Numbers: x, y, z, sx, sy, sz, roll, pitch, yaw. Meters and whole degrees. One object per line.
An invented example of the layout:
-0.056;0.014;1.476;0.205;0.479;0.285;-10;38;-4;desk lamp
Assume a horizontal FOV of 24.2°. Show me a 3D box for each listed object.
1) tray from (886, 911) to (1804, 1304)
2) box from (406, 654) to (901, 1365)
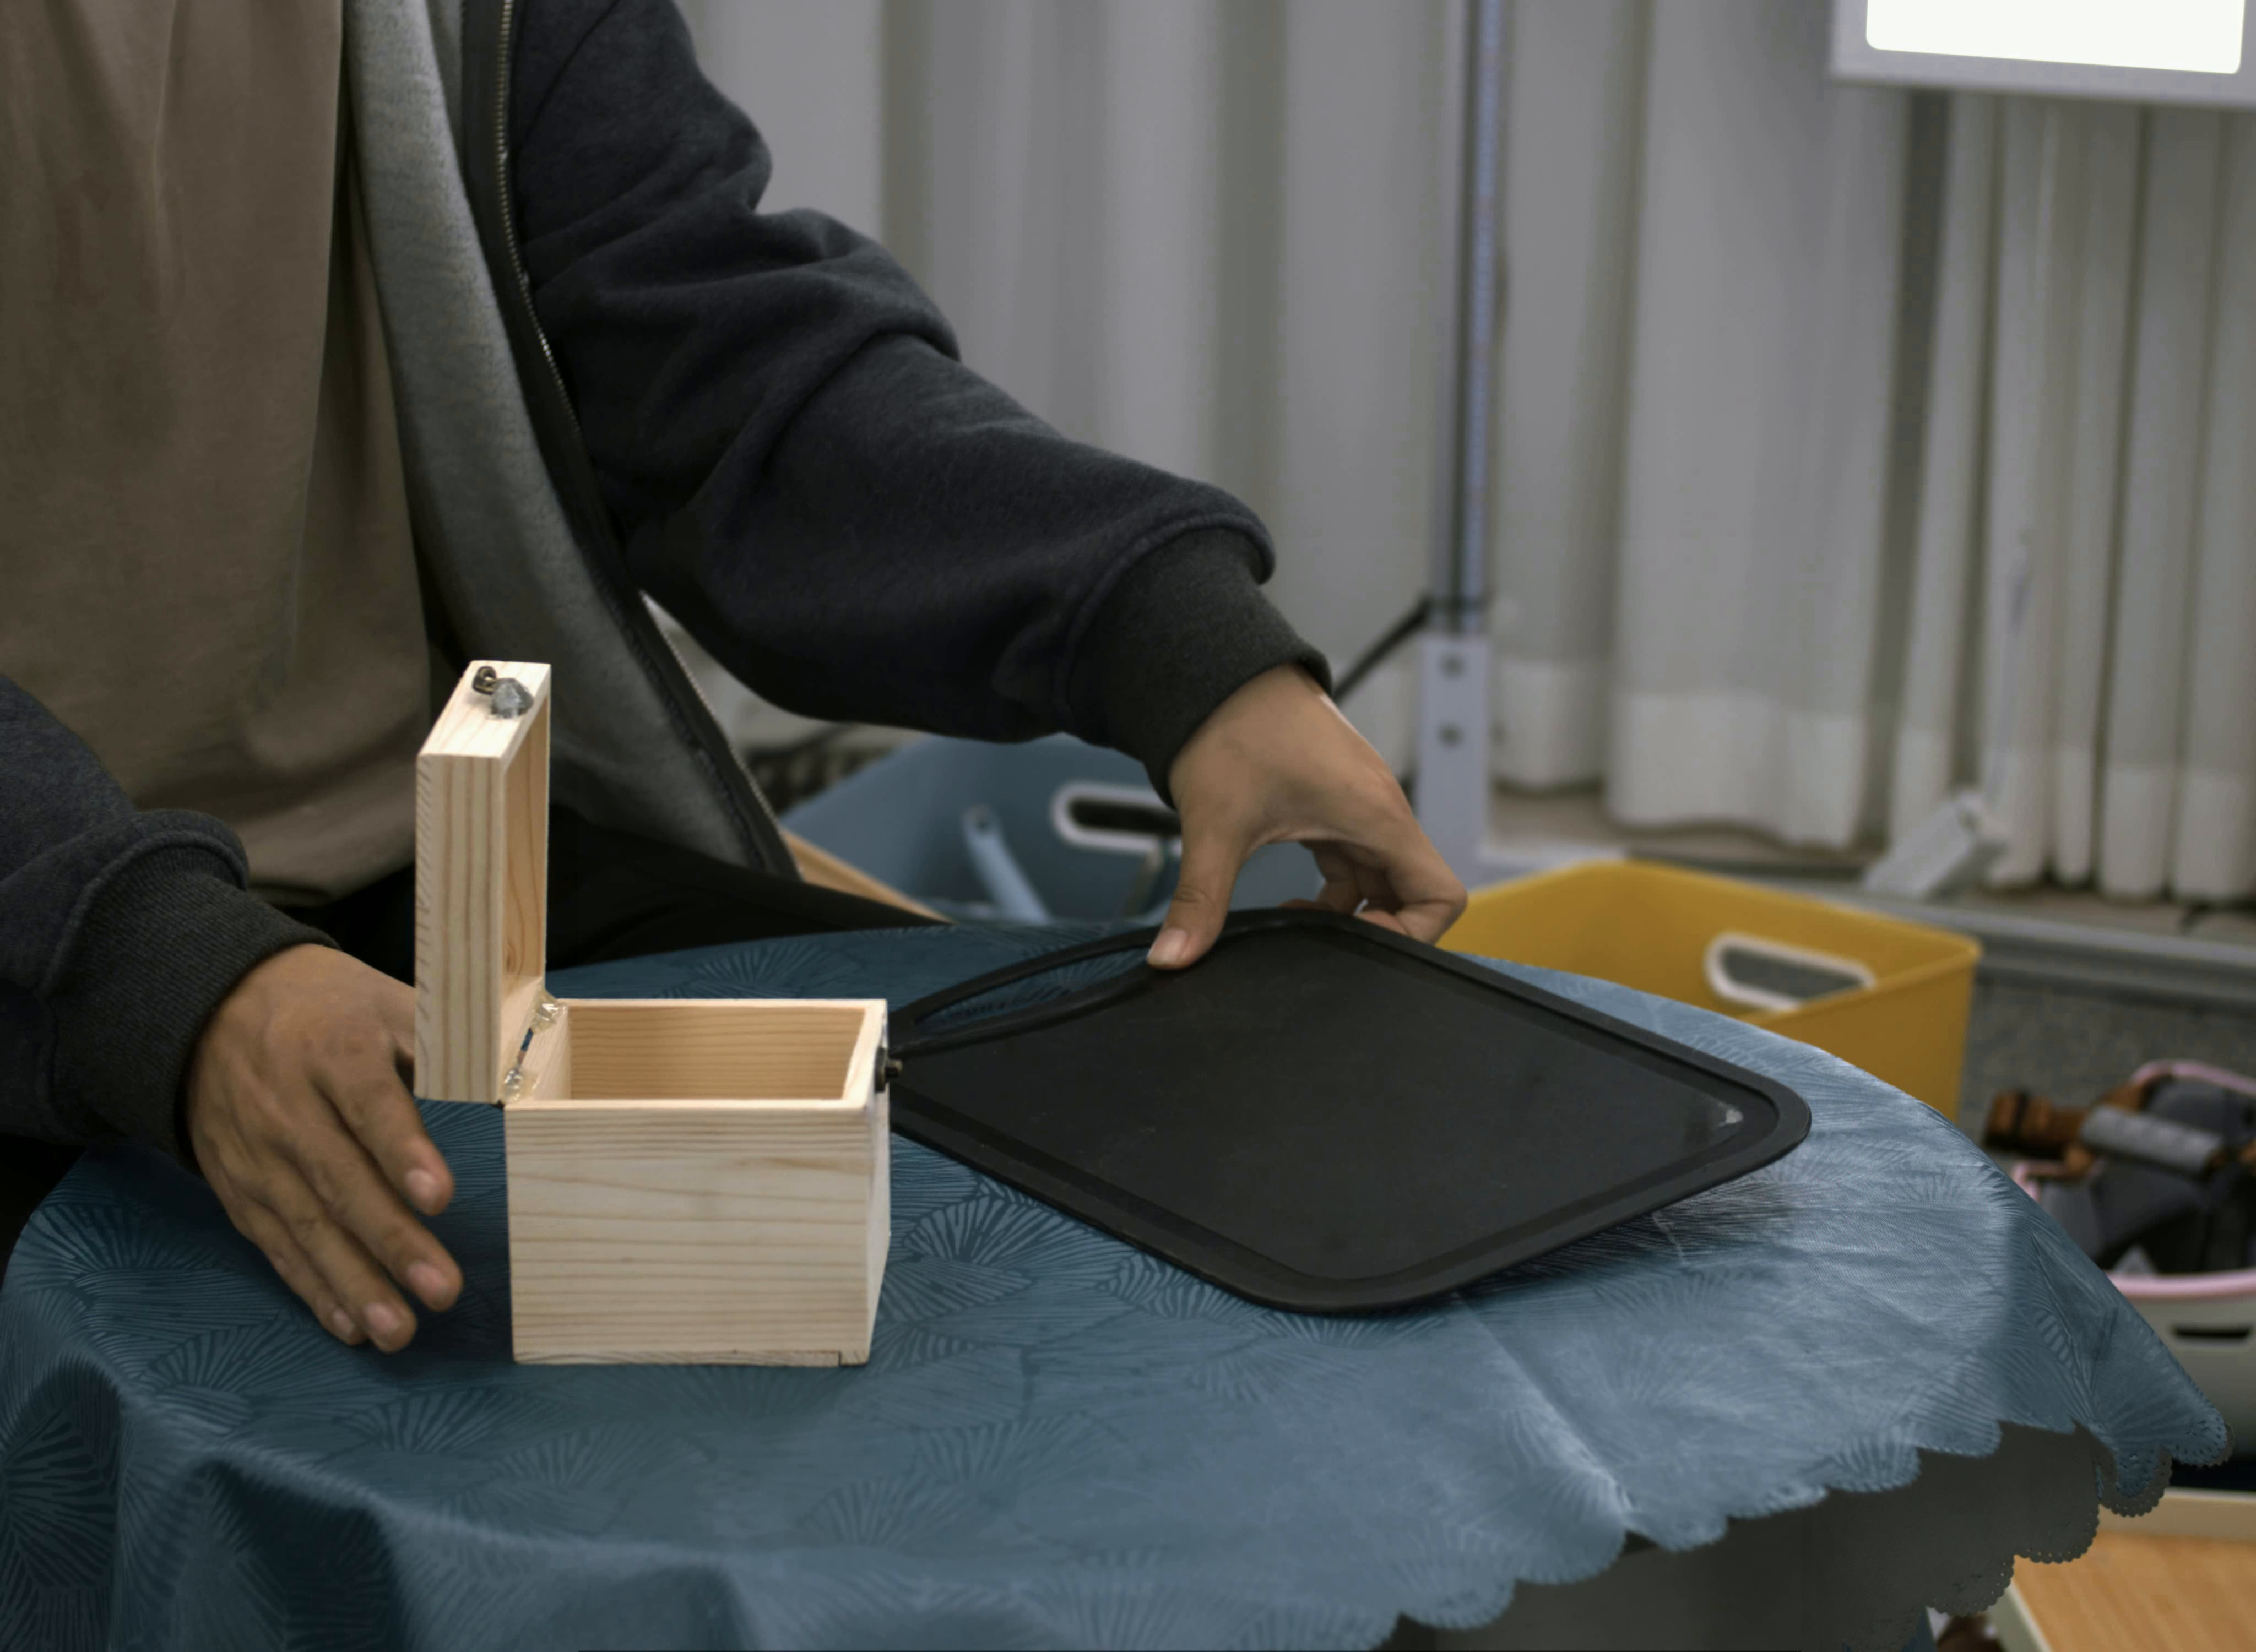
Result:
0.048;0.082;1.679;0.212;0.010;0.321;-18;23;-31;tray
-0.131;0.050;1.497;0.133;0.186;0.102;0;17;0;box
